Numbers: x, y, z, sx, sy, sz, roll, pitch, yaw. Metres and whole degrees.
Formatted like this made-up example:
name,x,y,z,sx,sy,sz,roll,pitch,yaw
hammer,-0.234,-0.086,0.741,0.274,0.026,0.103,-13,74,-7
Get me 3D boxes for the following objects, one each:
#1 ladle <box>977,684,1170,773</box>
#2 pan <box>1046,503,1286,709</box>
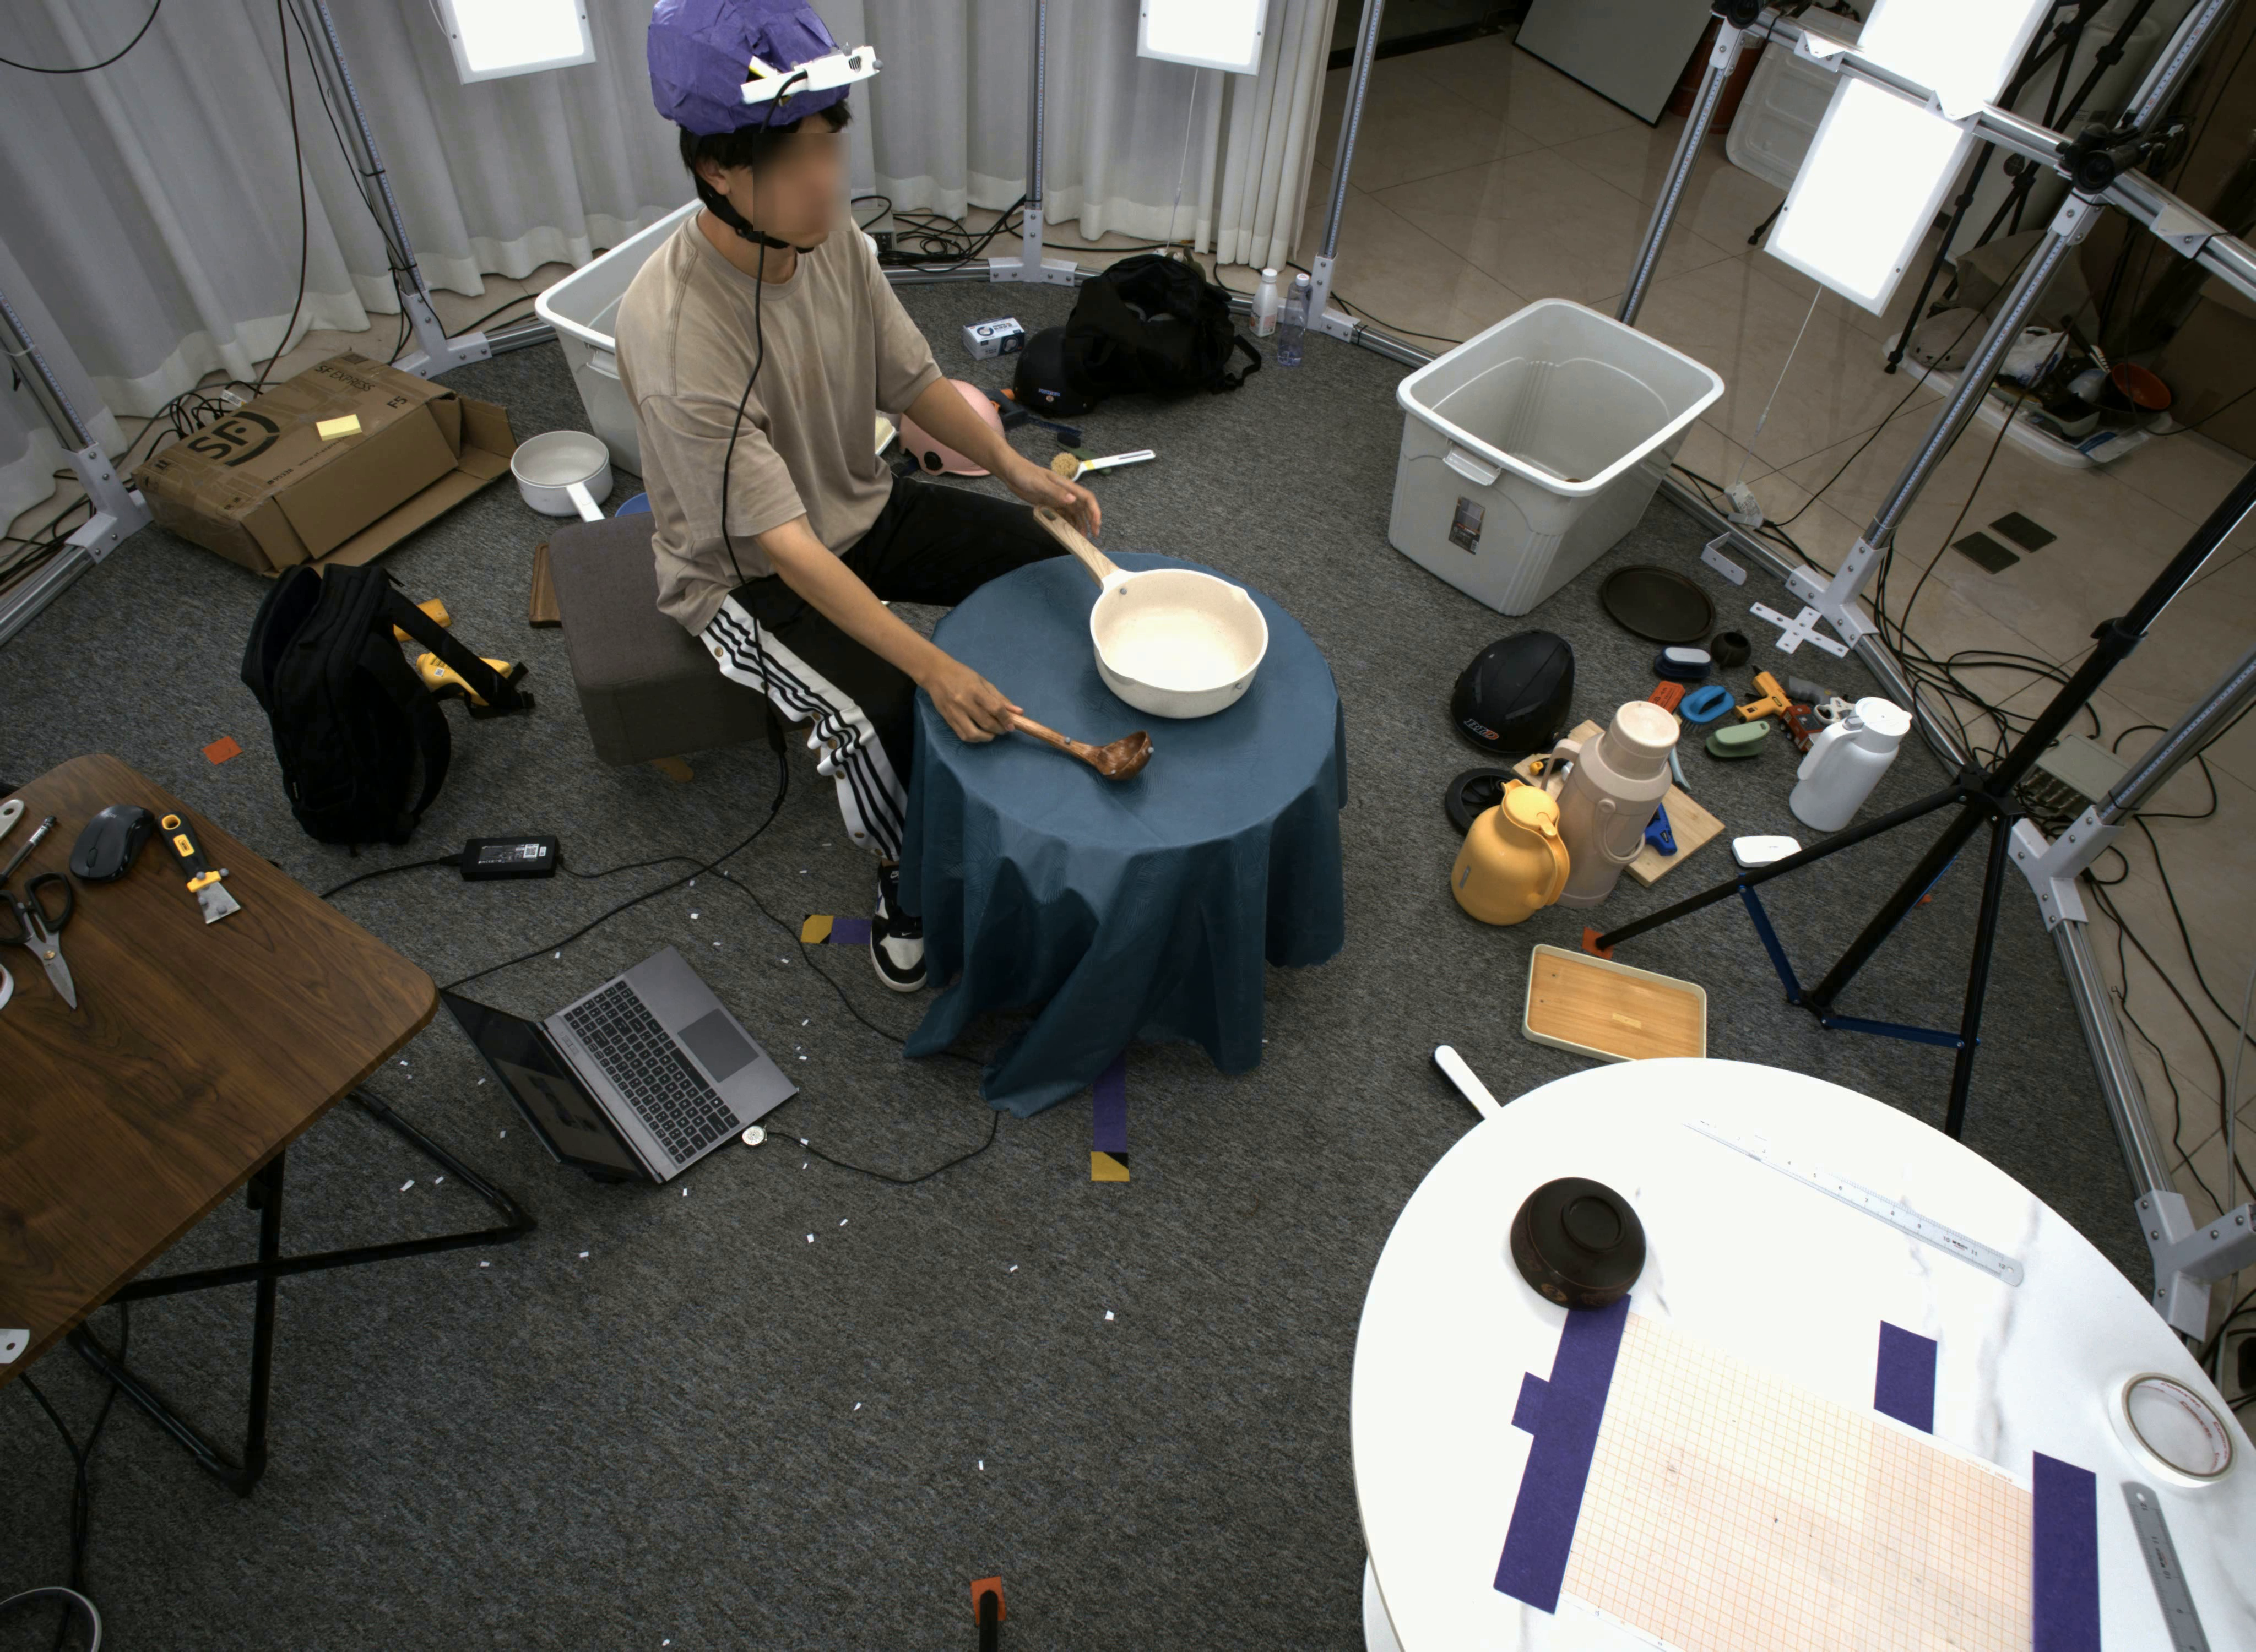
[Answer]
name,x,y,z,sx,sy,sz,roll,pitch,yaw
ladle,-0.075,-0.146,1.710,0.275,0.075,0.083,25,48,7
pan,0.032,-0.327,1.877,0.265,0.099,0.442,-34,59,-28
